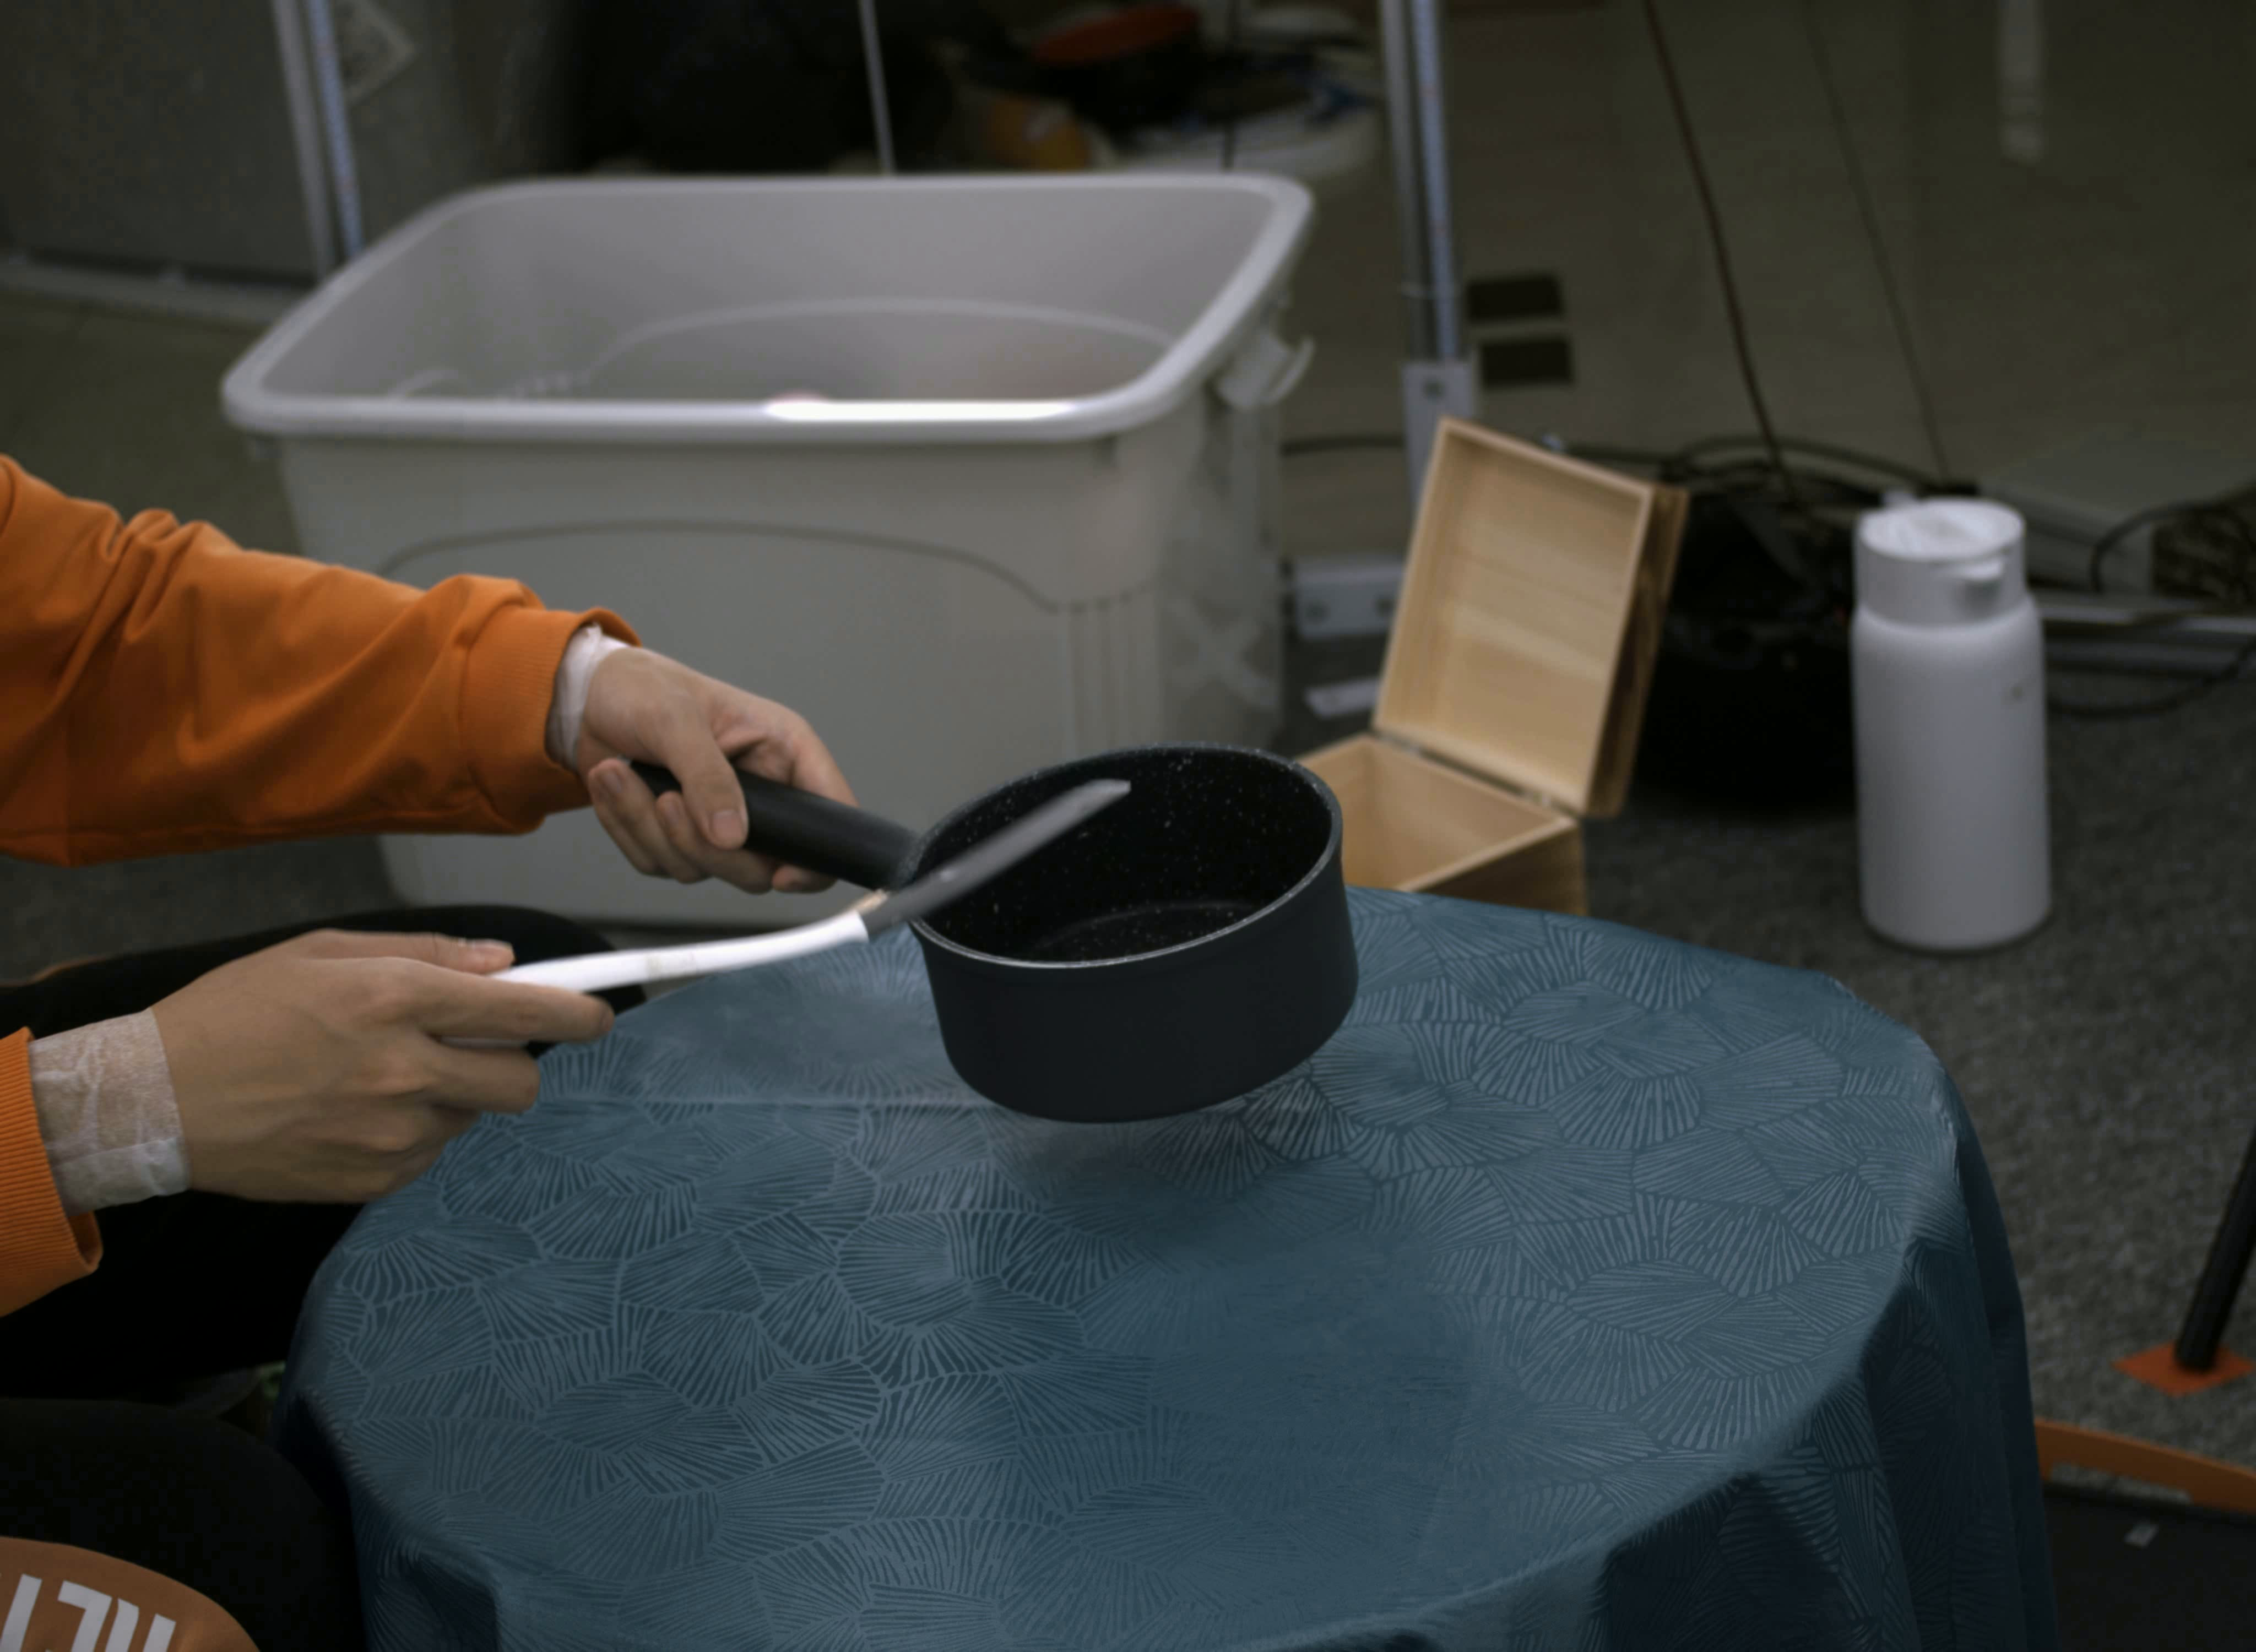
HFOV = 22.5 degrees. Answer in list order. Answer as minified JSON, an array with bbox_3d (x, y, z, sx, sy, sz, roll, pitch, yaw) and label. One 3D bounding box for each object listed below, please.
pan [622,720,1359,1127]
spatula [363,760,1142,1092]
[{"bbox_3d":[-0.061,0.027,2.212,0.327,0.088,0.170,12,36,34],"label":"pan"},{"bbox_3d":[-0.129,0.032,1.988,0.286,0.032,0.058,-19,7,-16],"label":"spatula"}]
